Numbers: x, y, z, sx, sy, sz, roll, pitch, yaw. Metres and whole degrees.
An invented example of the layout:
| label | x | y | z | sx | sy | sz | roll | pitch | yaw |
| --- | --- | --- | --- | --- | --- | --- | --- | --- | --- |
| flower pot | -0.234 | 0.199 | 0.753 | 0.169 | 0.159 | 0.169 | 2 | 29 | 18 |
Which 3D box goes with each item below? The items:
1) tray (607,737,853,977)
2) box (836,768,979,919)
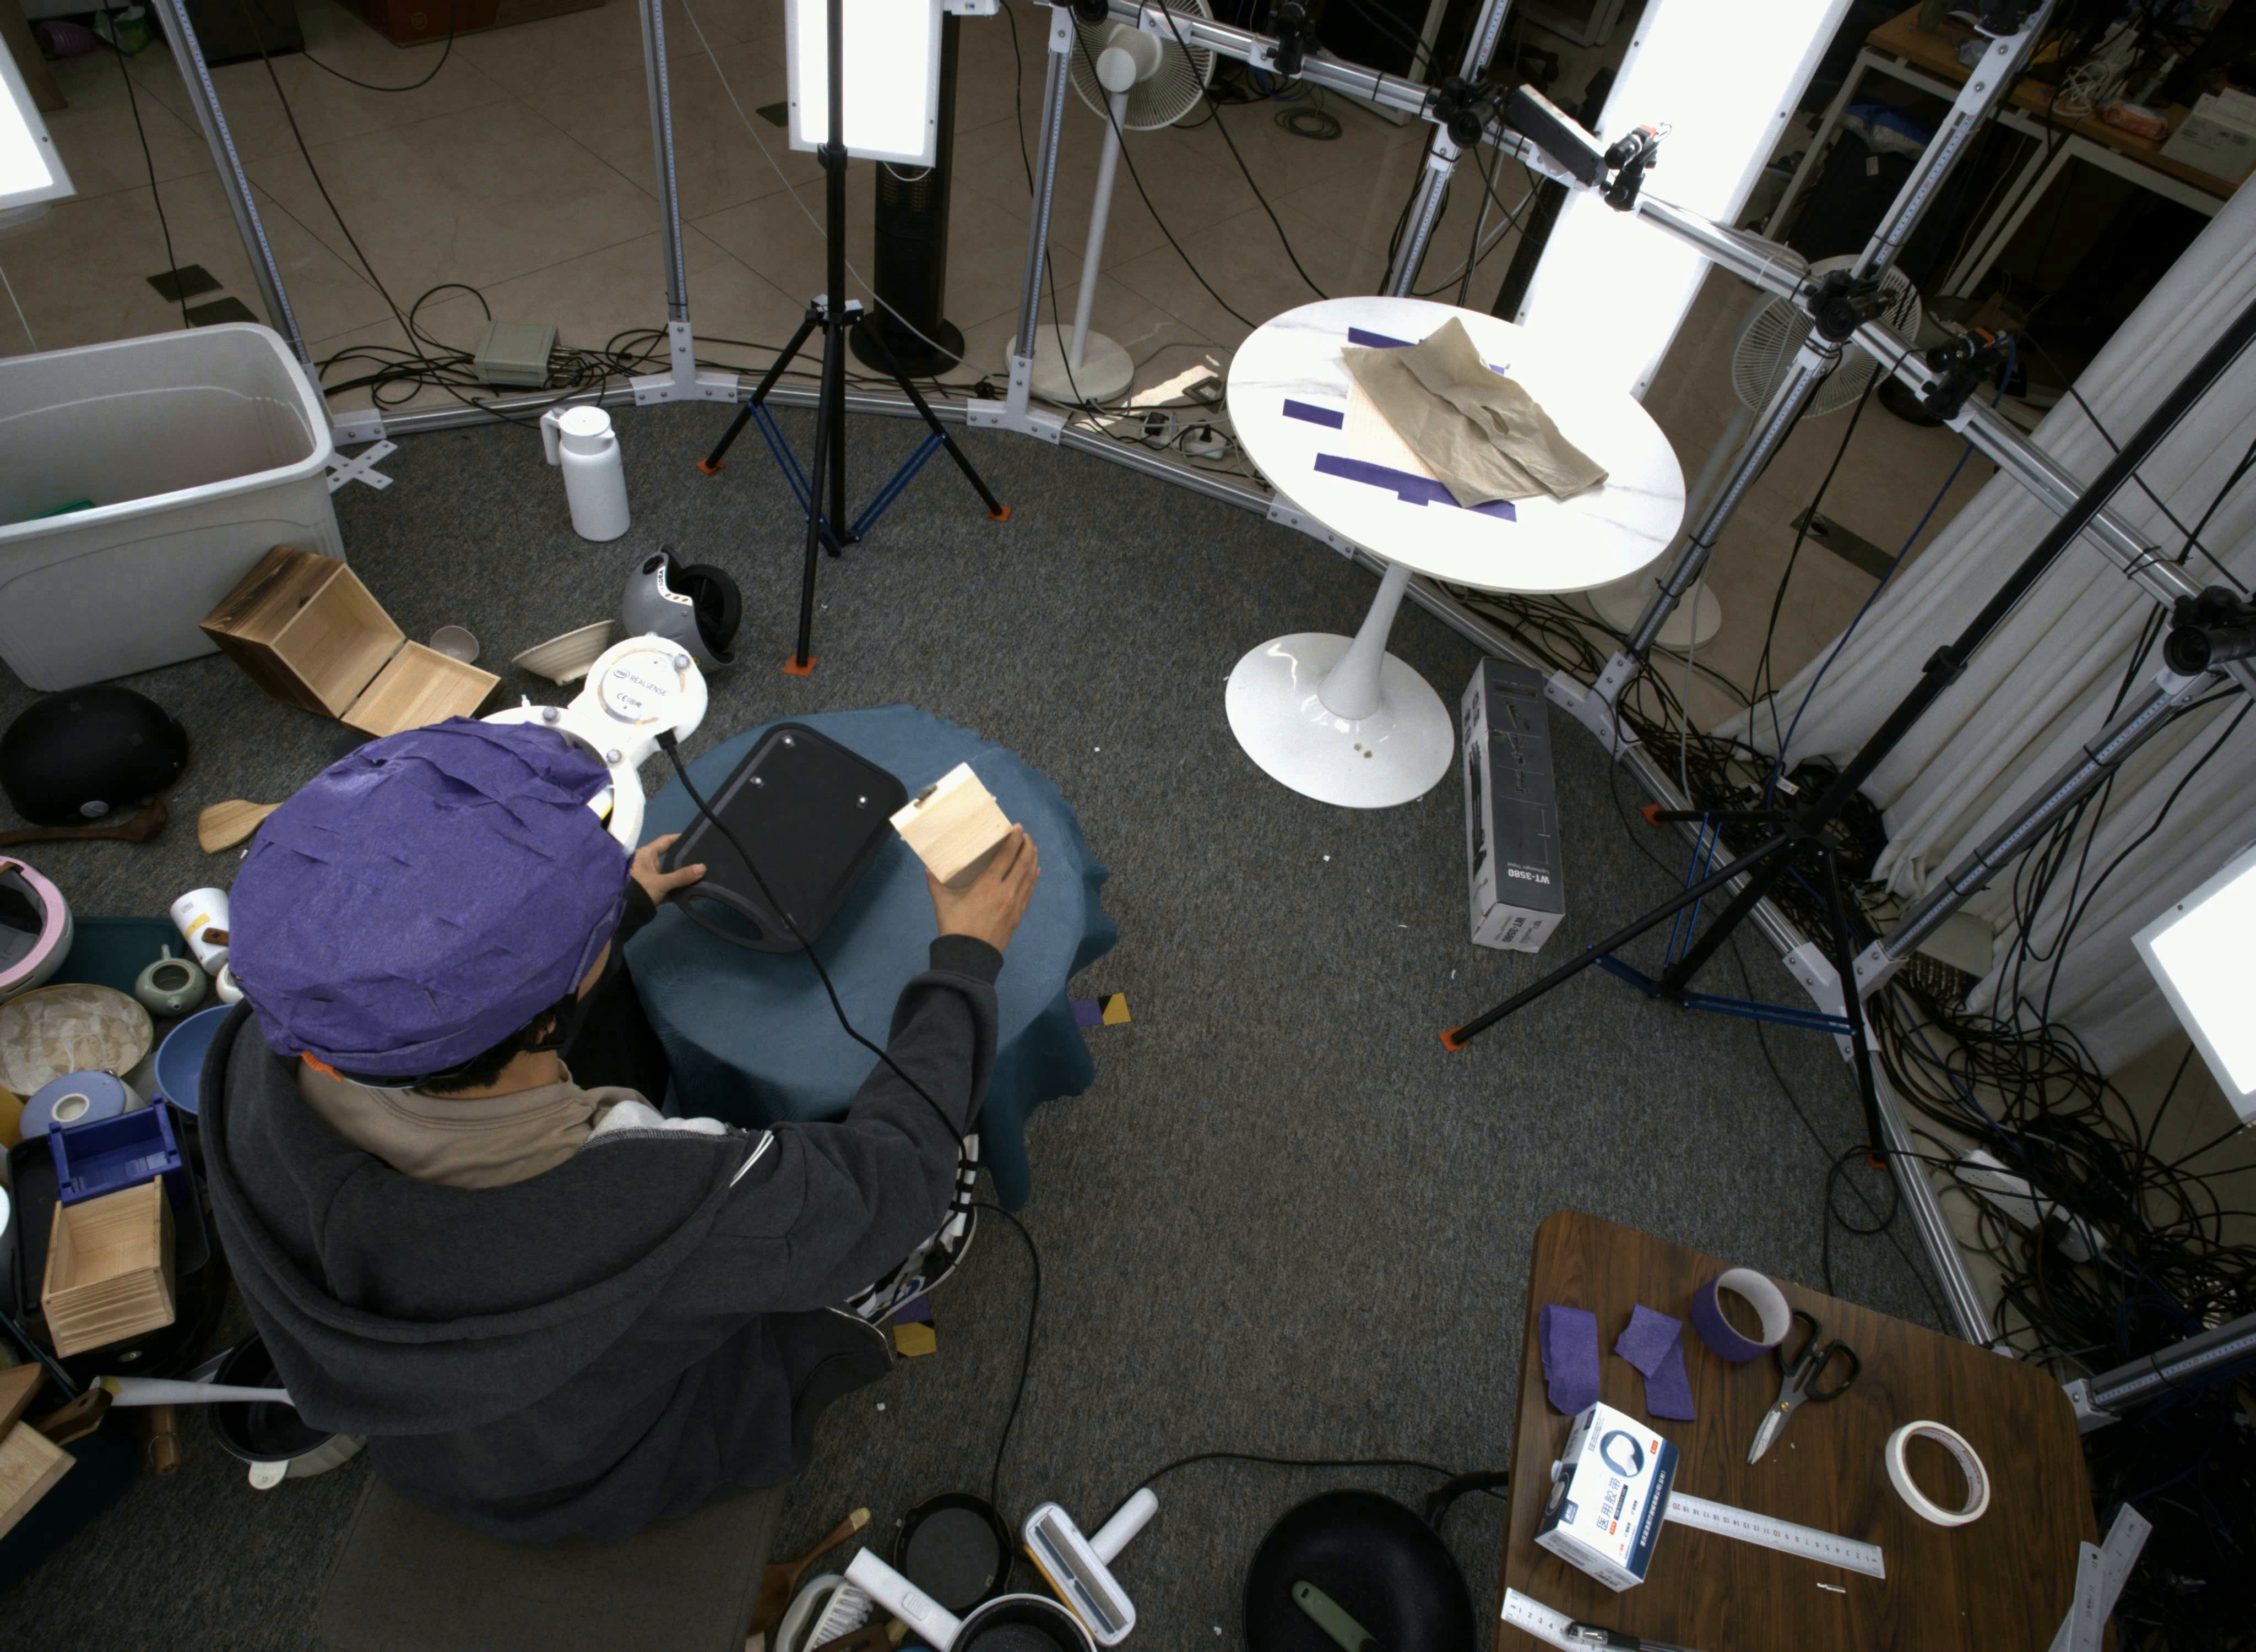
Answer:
| label | x | y | z | sx | sy | sz | roll | pitch | yaw |
| --- | --- | --- | --- | --- | --- | --- | --- | --- | --- |
| tray | -0.484 | 0.034 | 1.577 | 0.211 | 0.010 | 0.322 | 29 | 52 | -6 |
| box | -0.259 | 0.000 | 1.443 | 0.102 | 0.191 | 0.129 | -41 | 53 | -9 |
